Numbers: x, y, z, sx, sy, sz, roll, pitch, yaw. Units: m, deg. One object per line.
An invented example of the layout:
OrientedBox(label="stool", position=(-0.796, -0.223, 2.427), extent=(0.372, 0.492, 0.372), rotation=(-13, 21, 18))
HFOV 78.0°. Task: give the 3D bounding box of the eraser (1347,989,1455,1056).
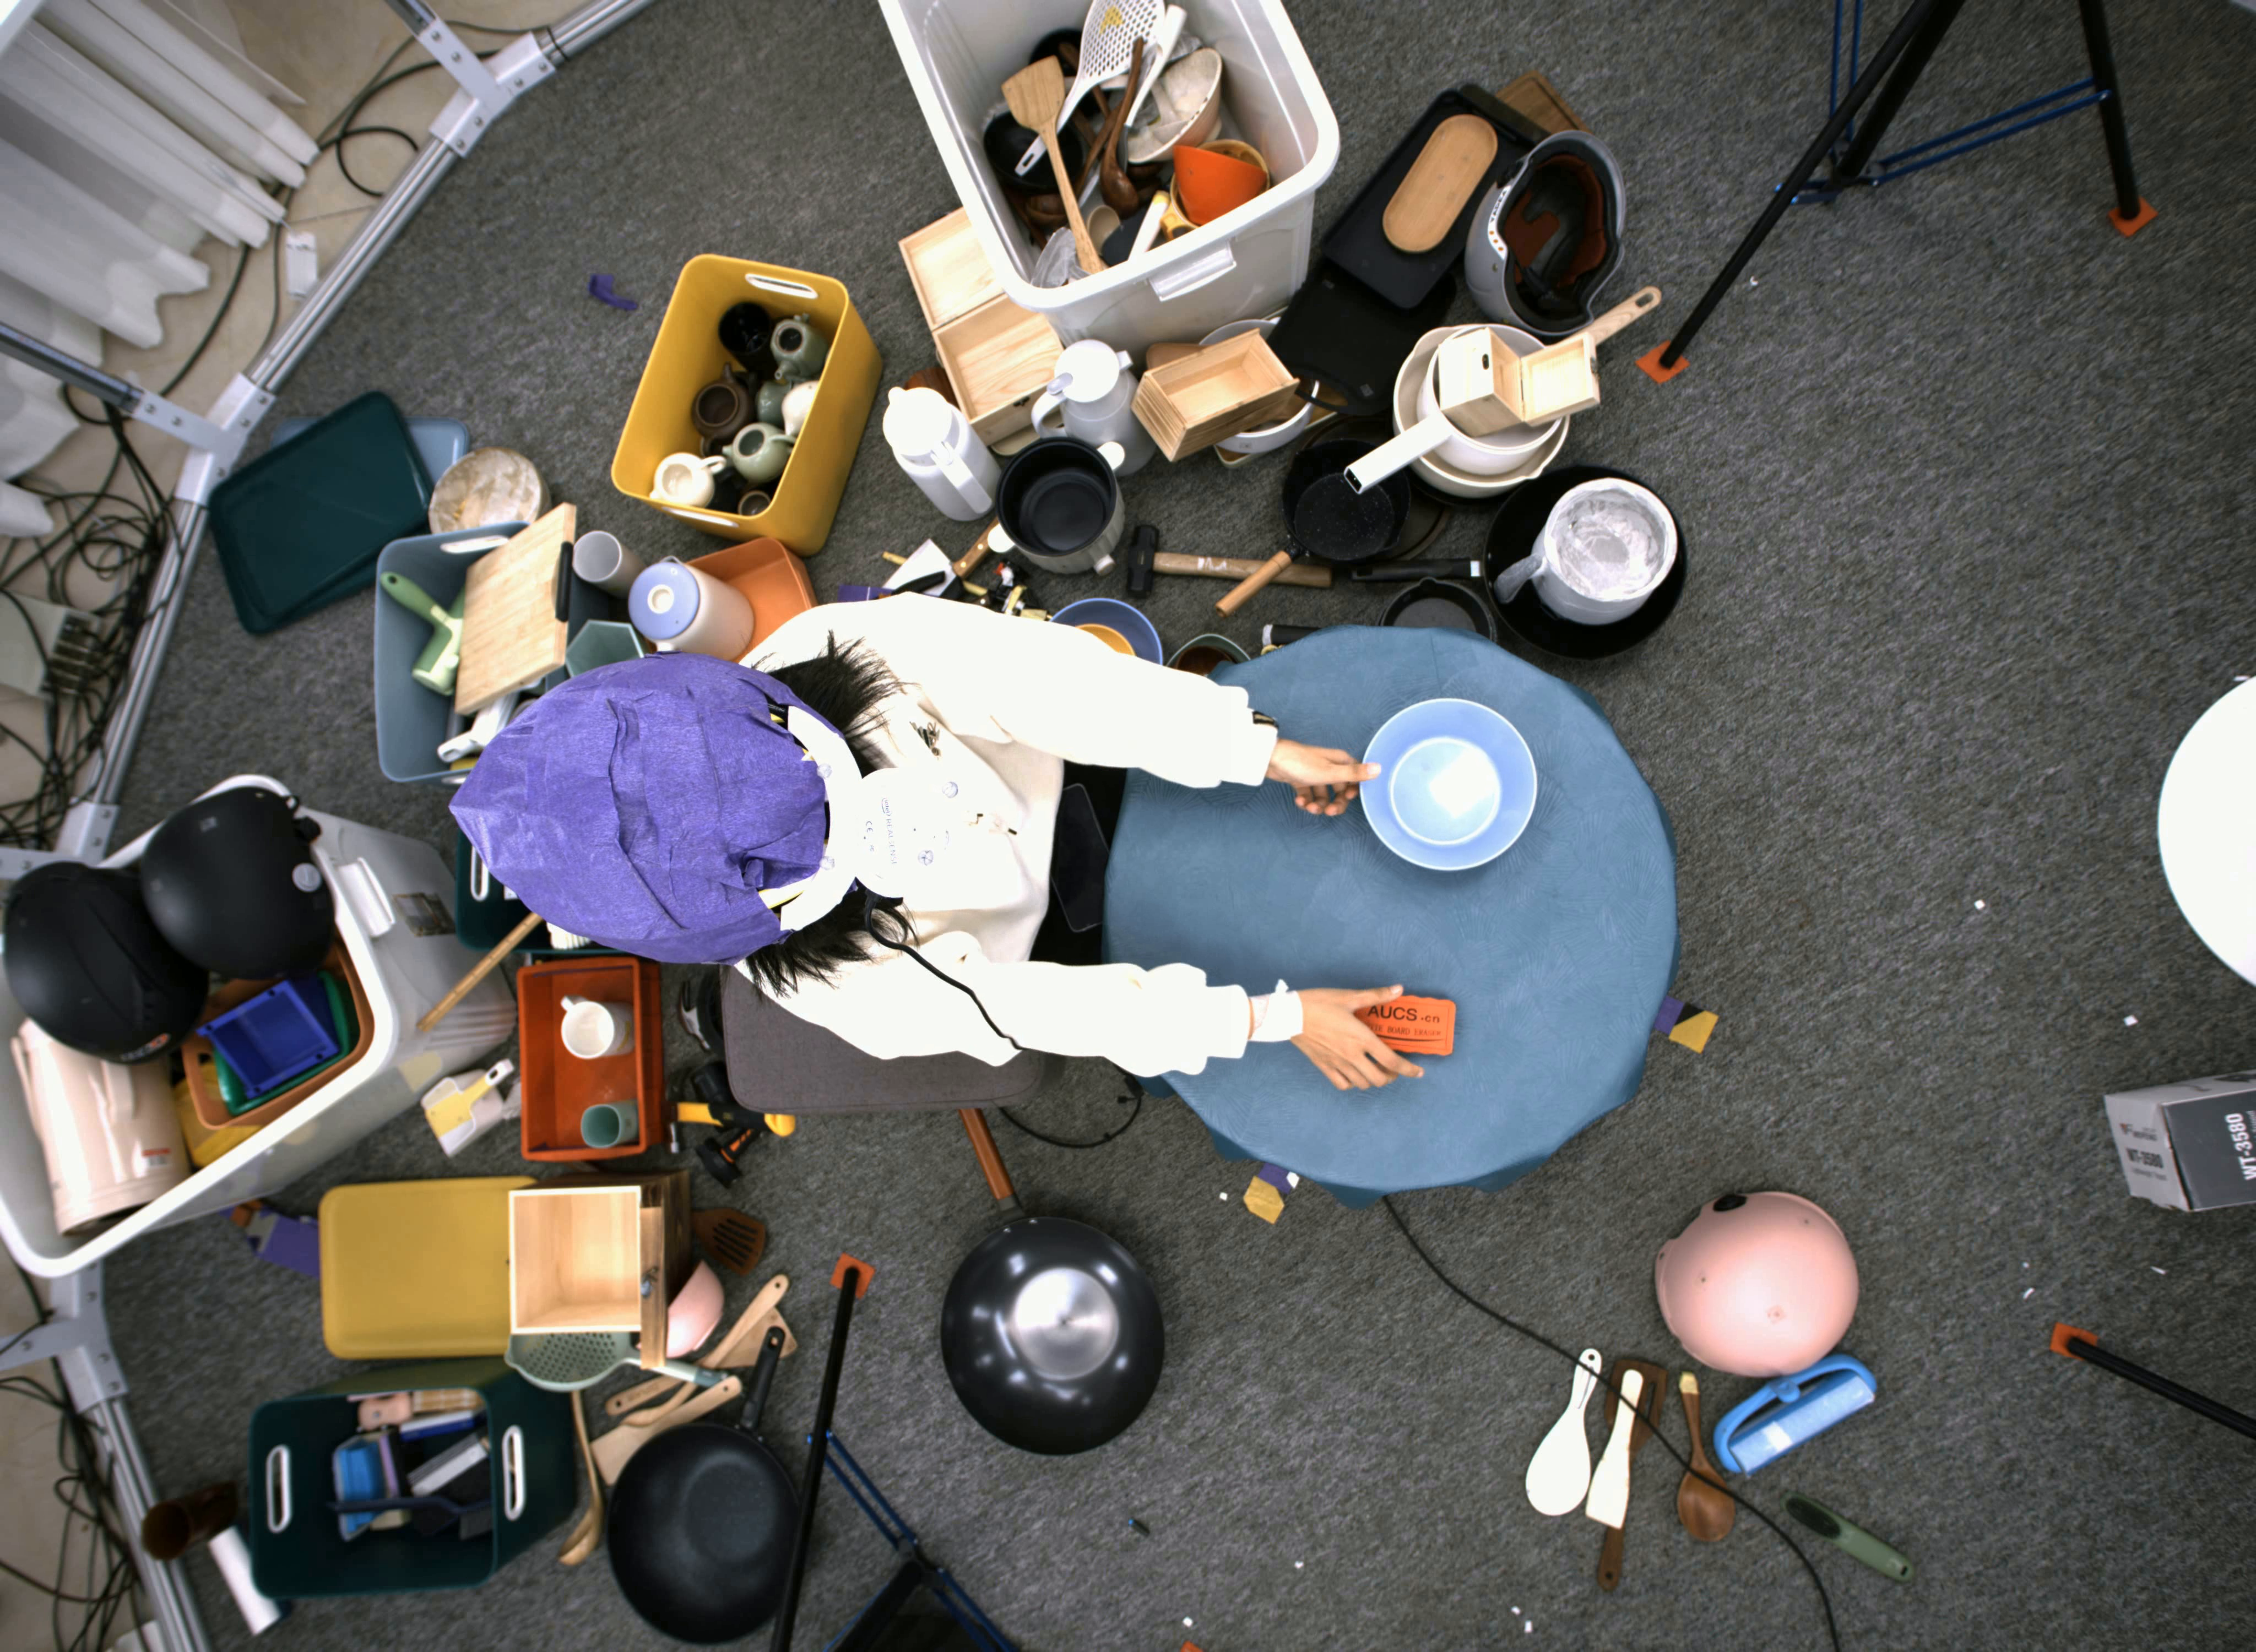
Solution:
OrientedBox(label="eraser", position=(0.284, 0.202, 1.439), extent=(0.108, 0.023, 0.059), rotation=(6, 90, 11))

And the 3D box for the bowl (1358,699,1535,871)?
OrientedBox(label="bowl", position=(0.326, -0.040, 1.420), extent=(0.177, 0.070, 0.175), rotation=(-1, 86, 10))
